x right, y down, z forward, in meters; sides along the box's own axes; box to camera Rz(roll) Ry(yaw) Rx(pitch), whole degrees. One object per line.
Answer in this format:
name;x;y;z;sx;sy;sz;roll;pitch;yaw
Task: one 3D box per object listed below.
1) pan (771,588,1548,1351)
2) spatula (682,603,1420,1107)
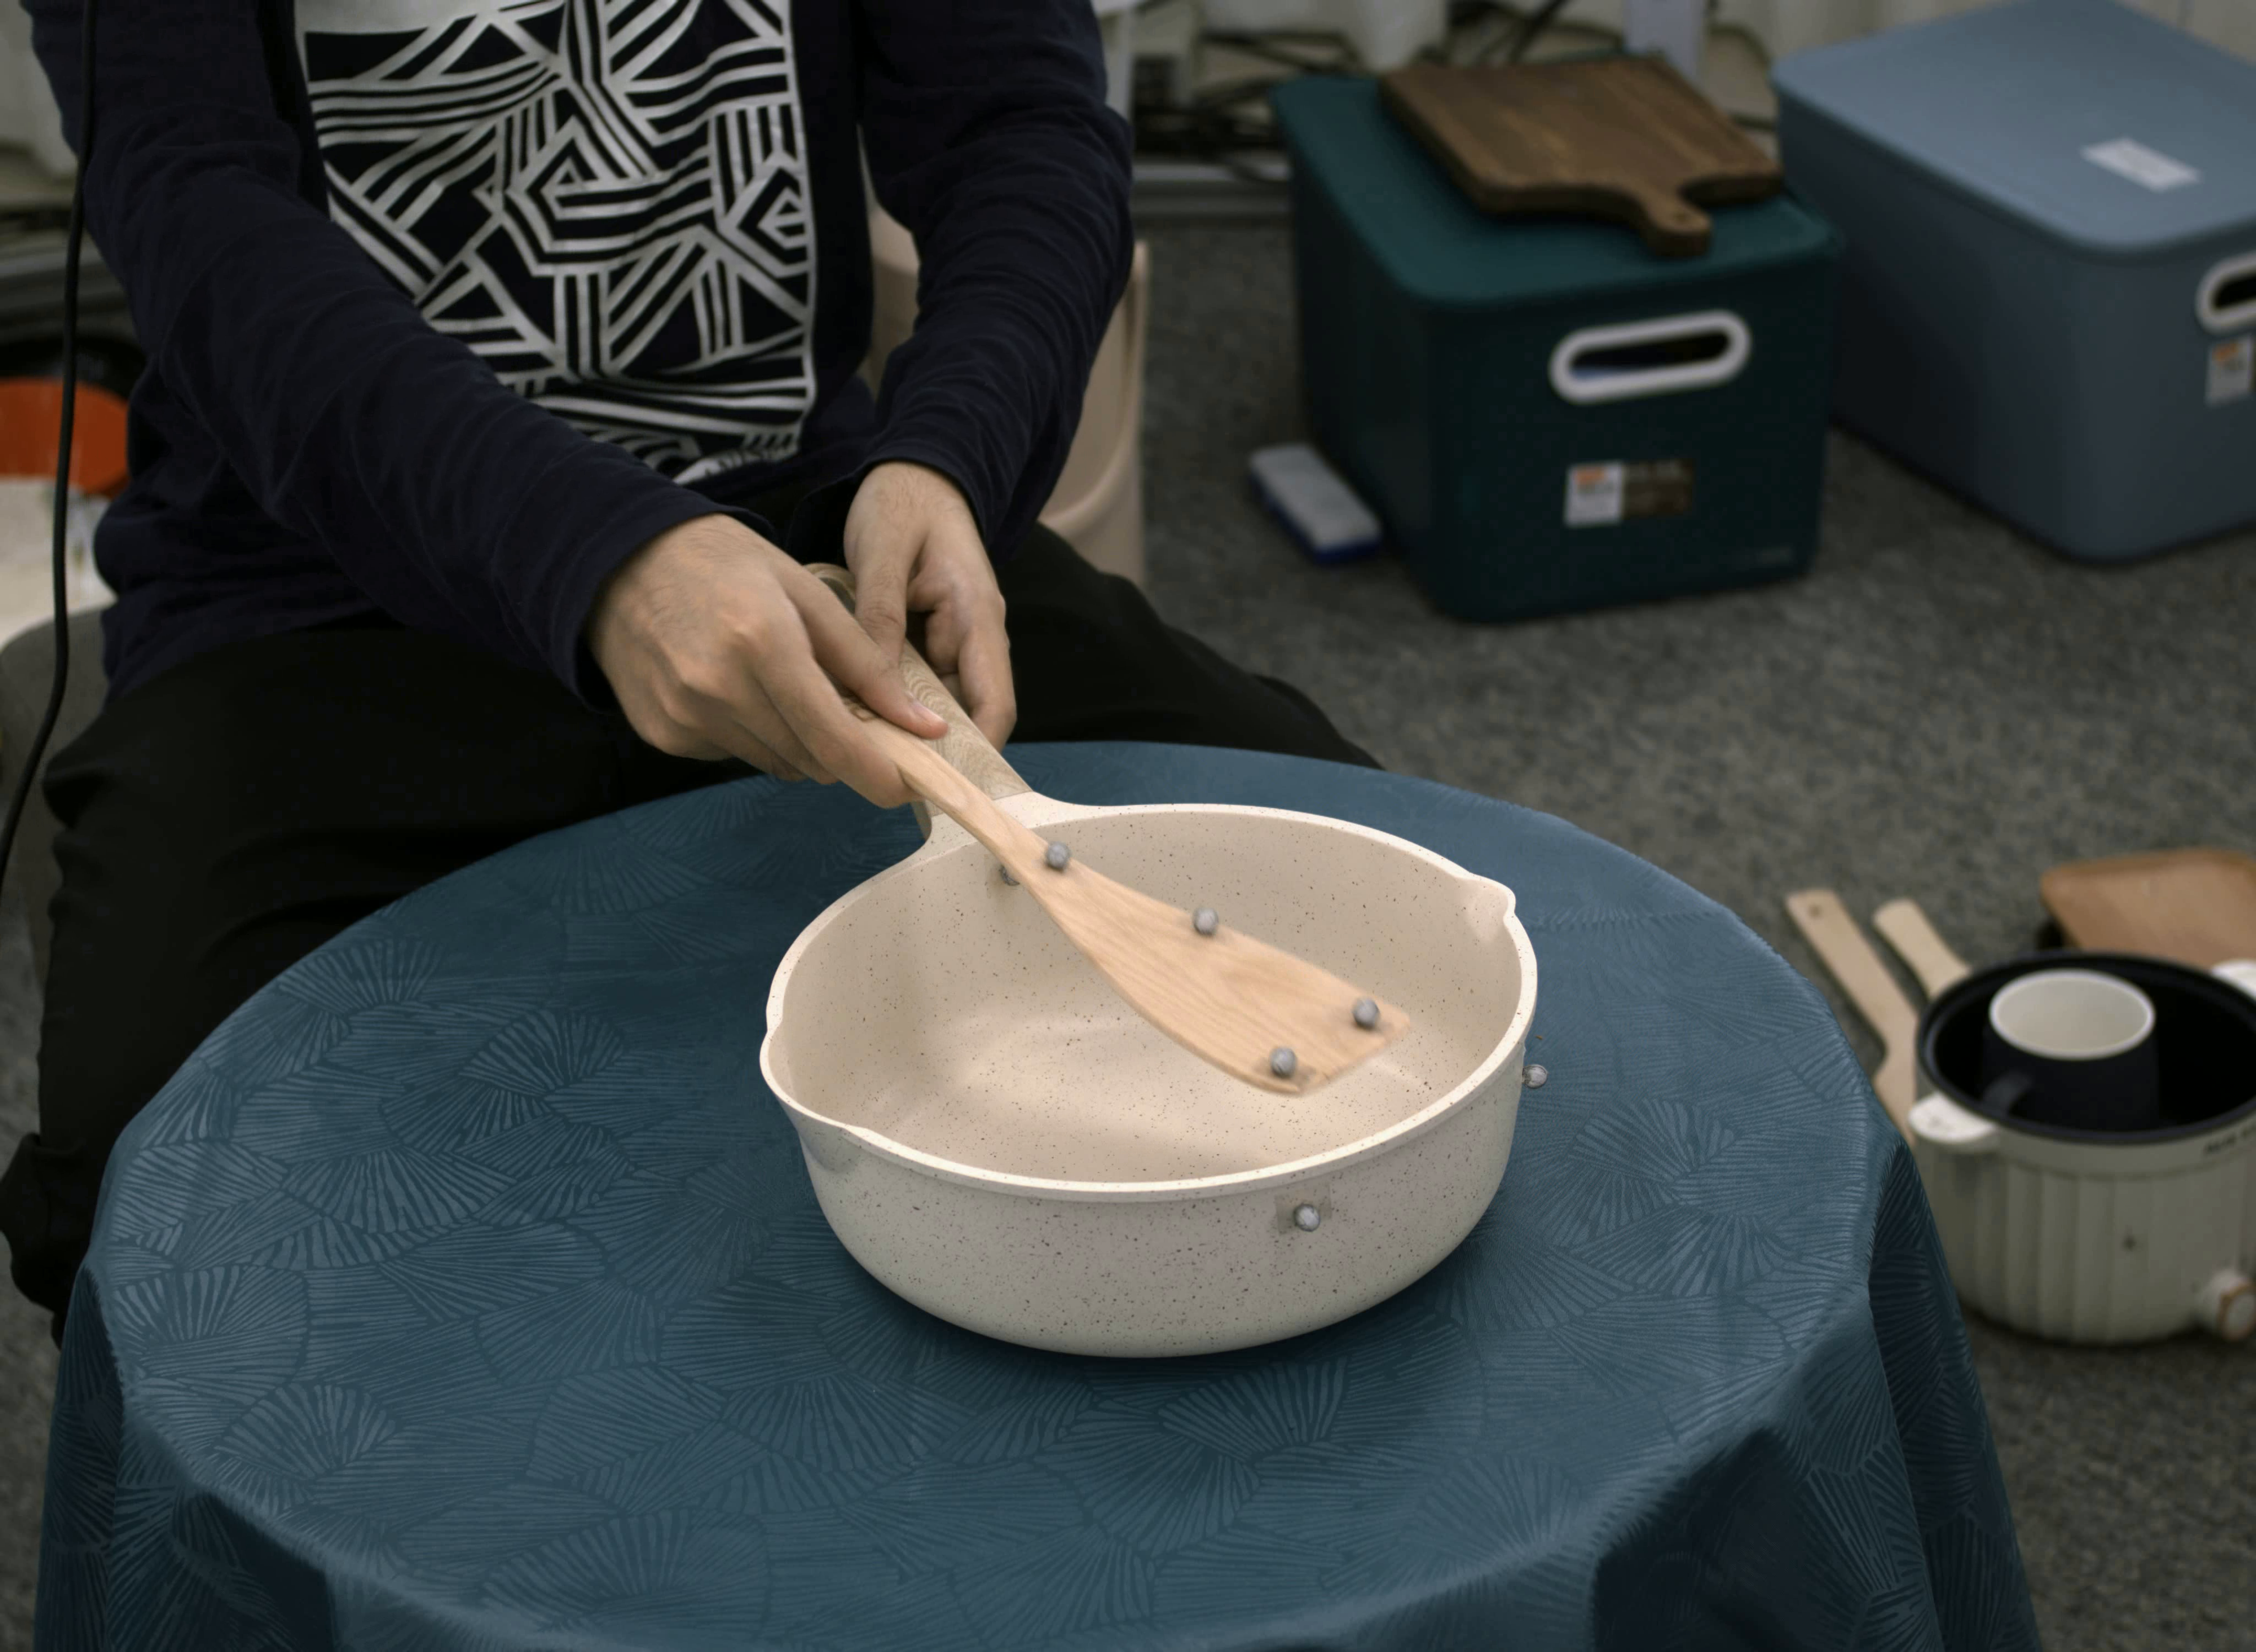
pan;-0.025;0.043;1.919;0.264;0.101;0.437;-15;29;-20
spatula;-0.035;0.004;1.851;0.328;0.016;0.081;36;34;32
